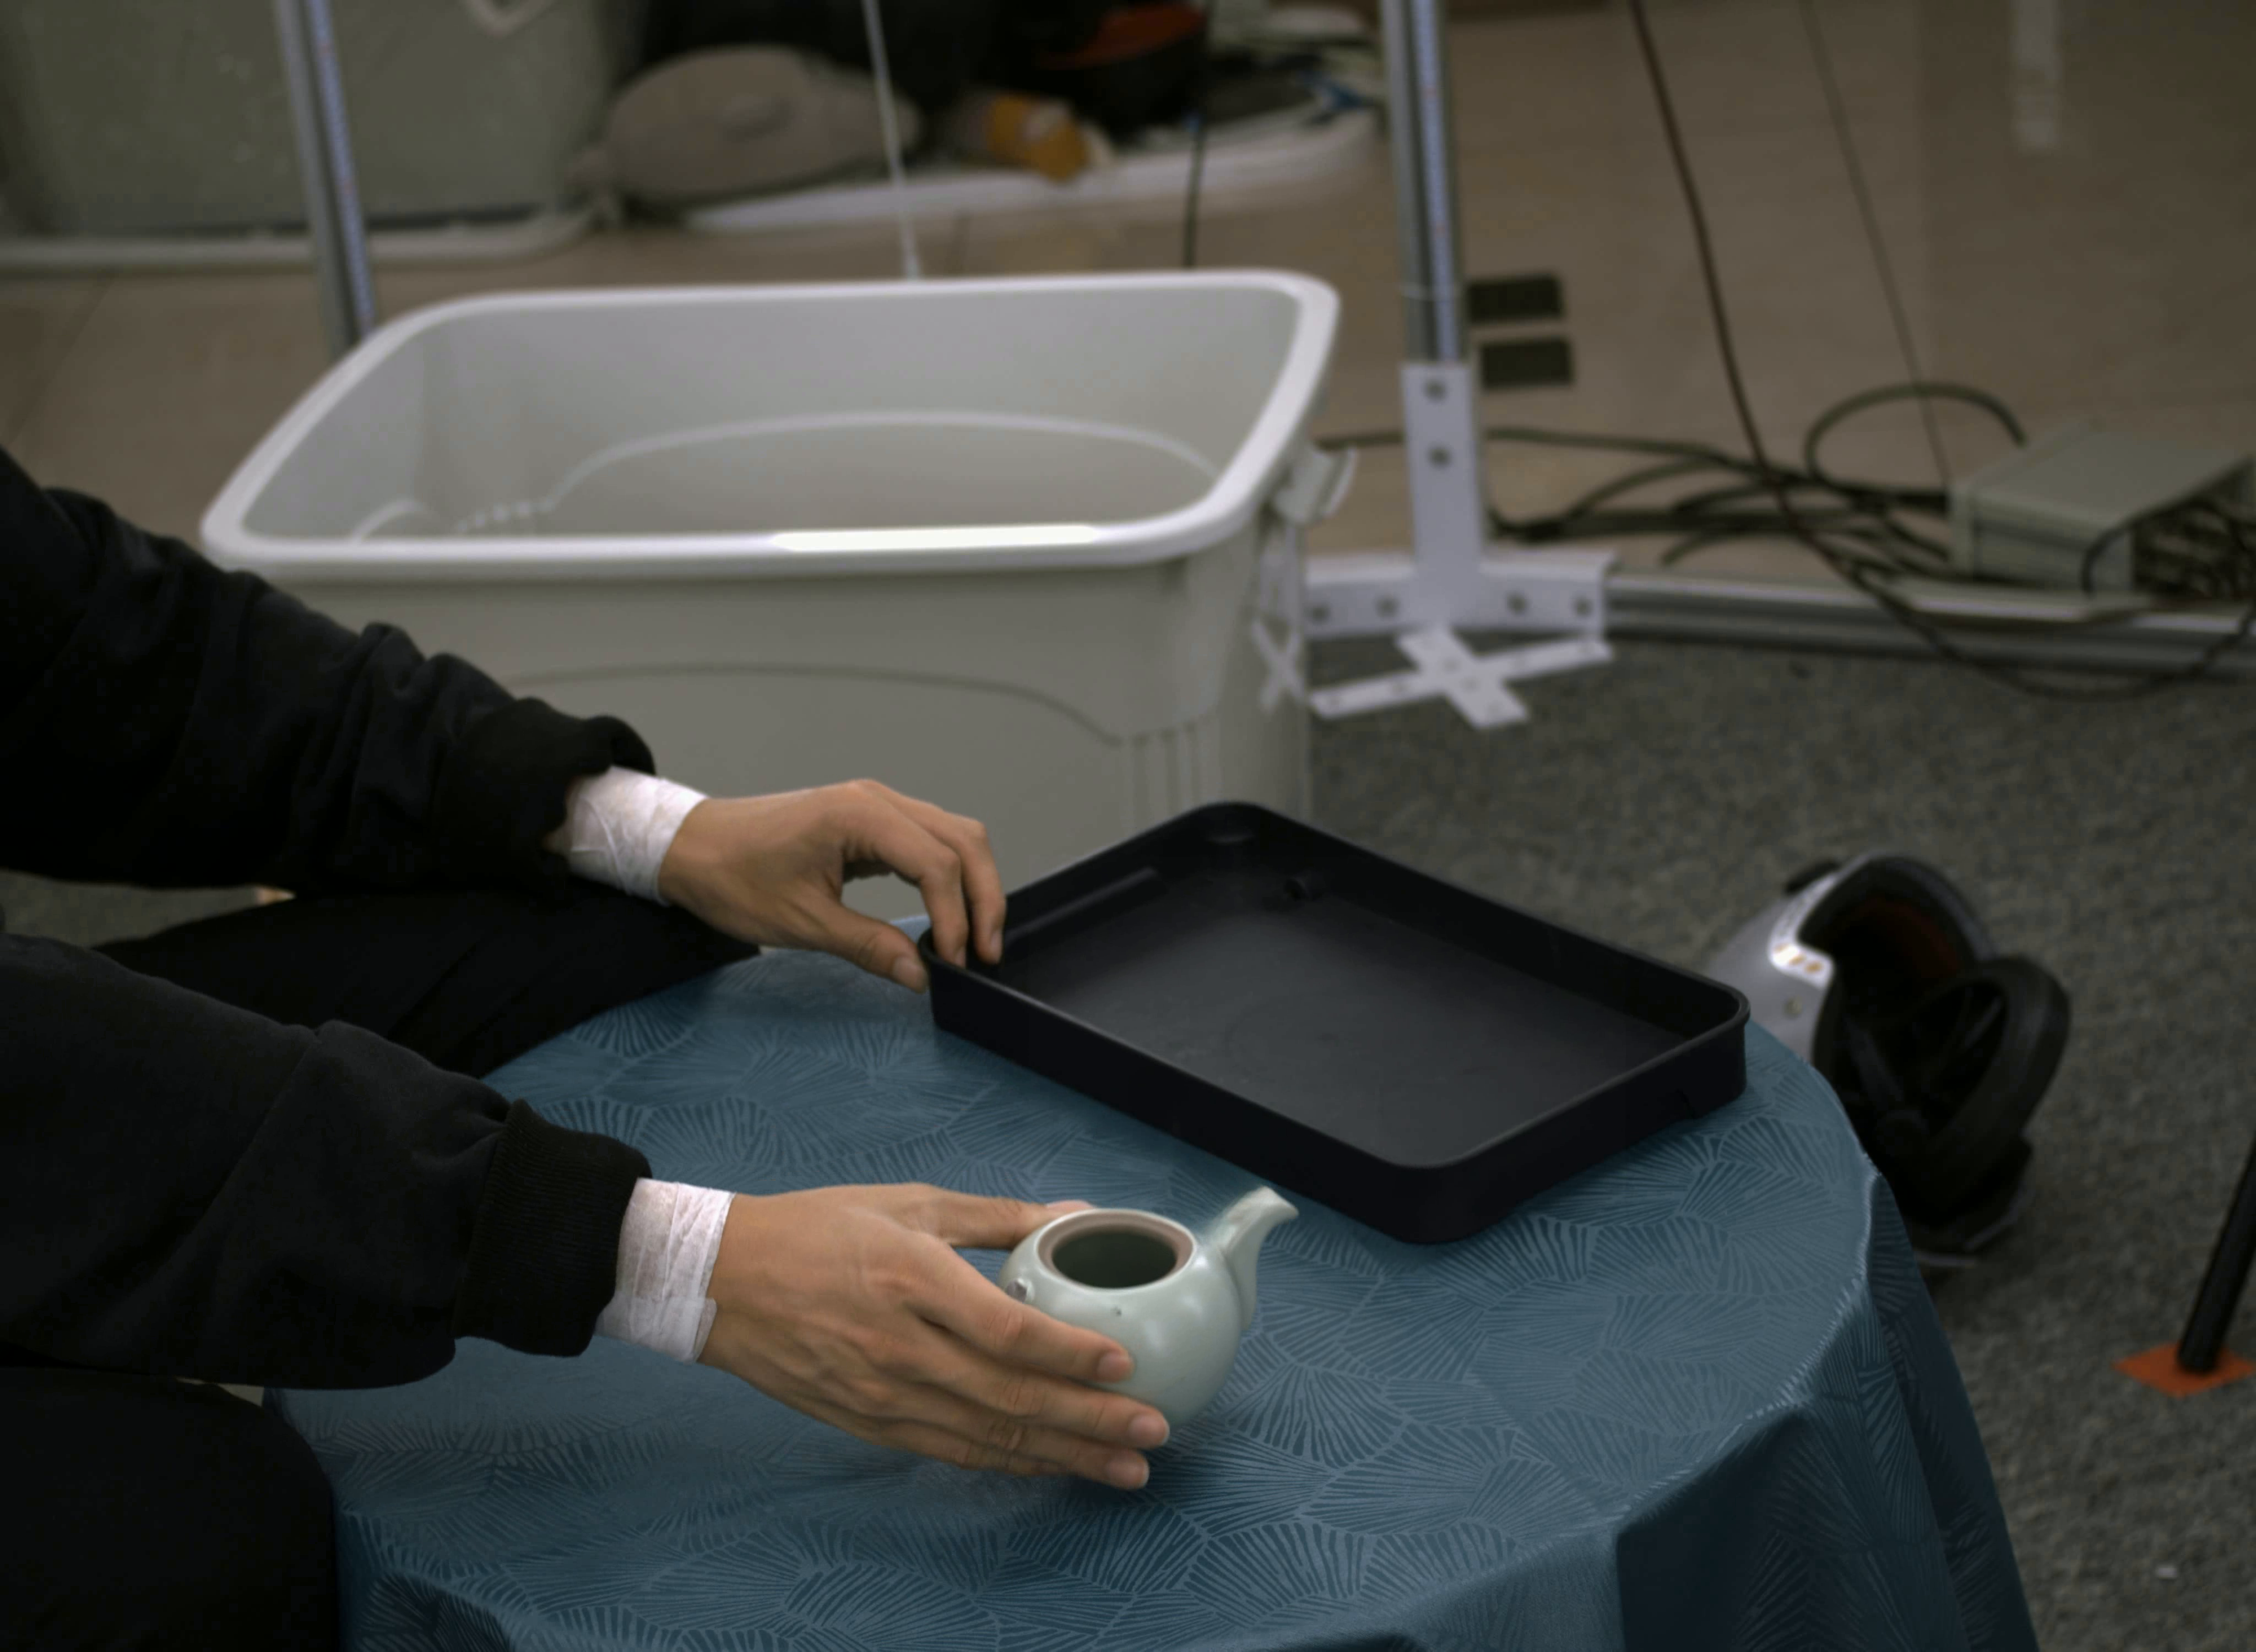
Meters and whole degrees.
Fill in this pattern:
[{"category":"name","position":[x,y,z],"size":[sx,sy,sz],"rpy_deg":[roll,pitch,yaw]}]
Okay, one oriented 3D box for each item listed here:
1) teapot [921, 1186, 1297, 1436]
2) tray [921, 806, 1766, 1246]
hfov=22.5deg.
[{"category":"teapot","position":[-0.006,0.170,1.968],"size":[0.143,0.076,0.087],"rpy_deg":[-9,28,-24]},{"category":"tray","position":[0.081,0.074,2.227],"size":[0.183,0.037,0.315],"rpy_deg":[-25,31,-35]}]
